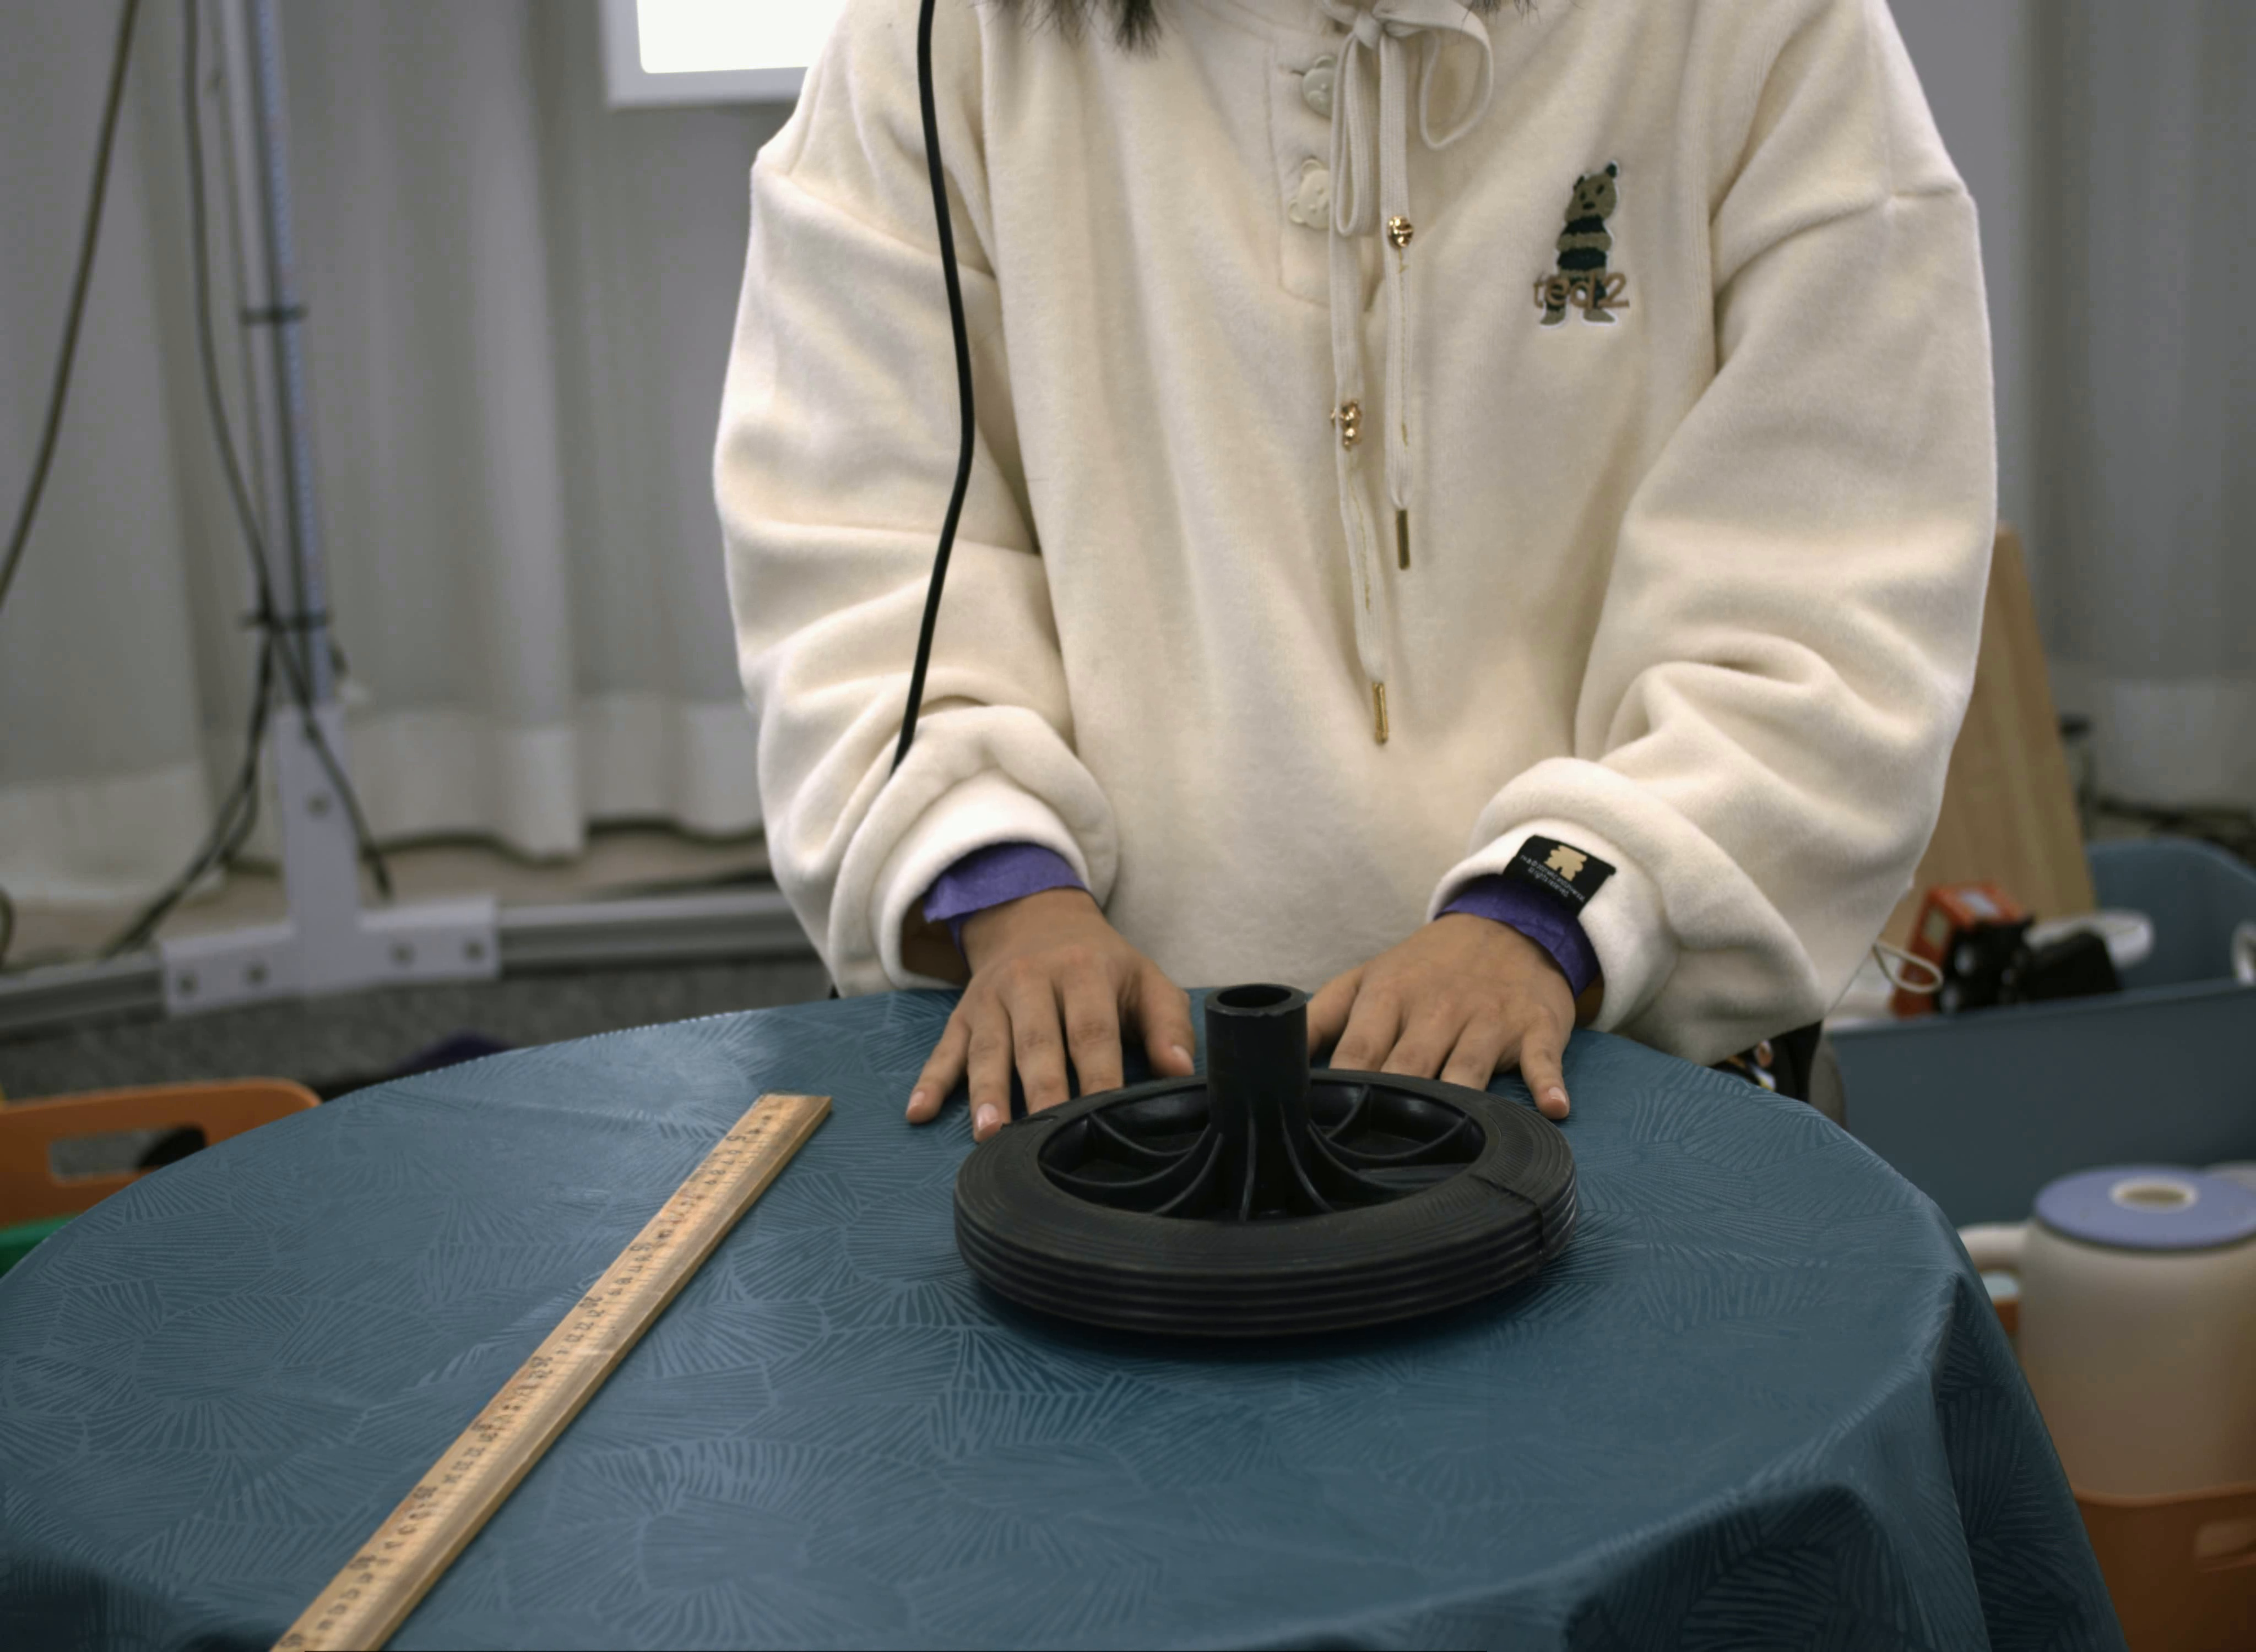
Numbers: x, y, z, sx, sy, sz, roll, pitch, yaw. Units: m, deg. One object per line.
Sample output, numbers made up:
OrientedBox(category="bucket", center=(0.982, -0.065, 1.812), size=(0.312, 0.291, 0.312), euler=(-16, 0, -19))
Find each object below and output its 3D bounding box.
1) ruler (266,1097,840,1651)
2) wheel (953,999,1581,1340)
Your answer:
OrientedBox(category="ruler", center=(-0.162, 0.157, 1.577), size=(0.027, 0.006, 0.503), euler=(-1, 15, 13))
OrientedBox(category="wheel", center=(0.041, 0.094, 1.638), size=(0.189, 0.079, 0.189), euler=(-8, 16, -21))
